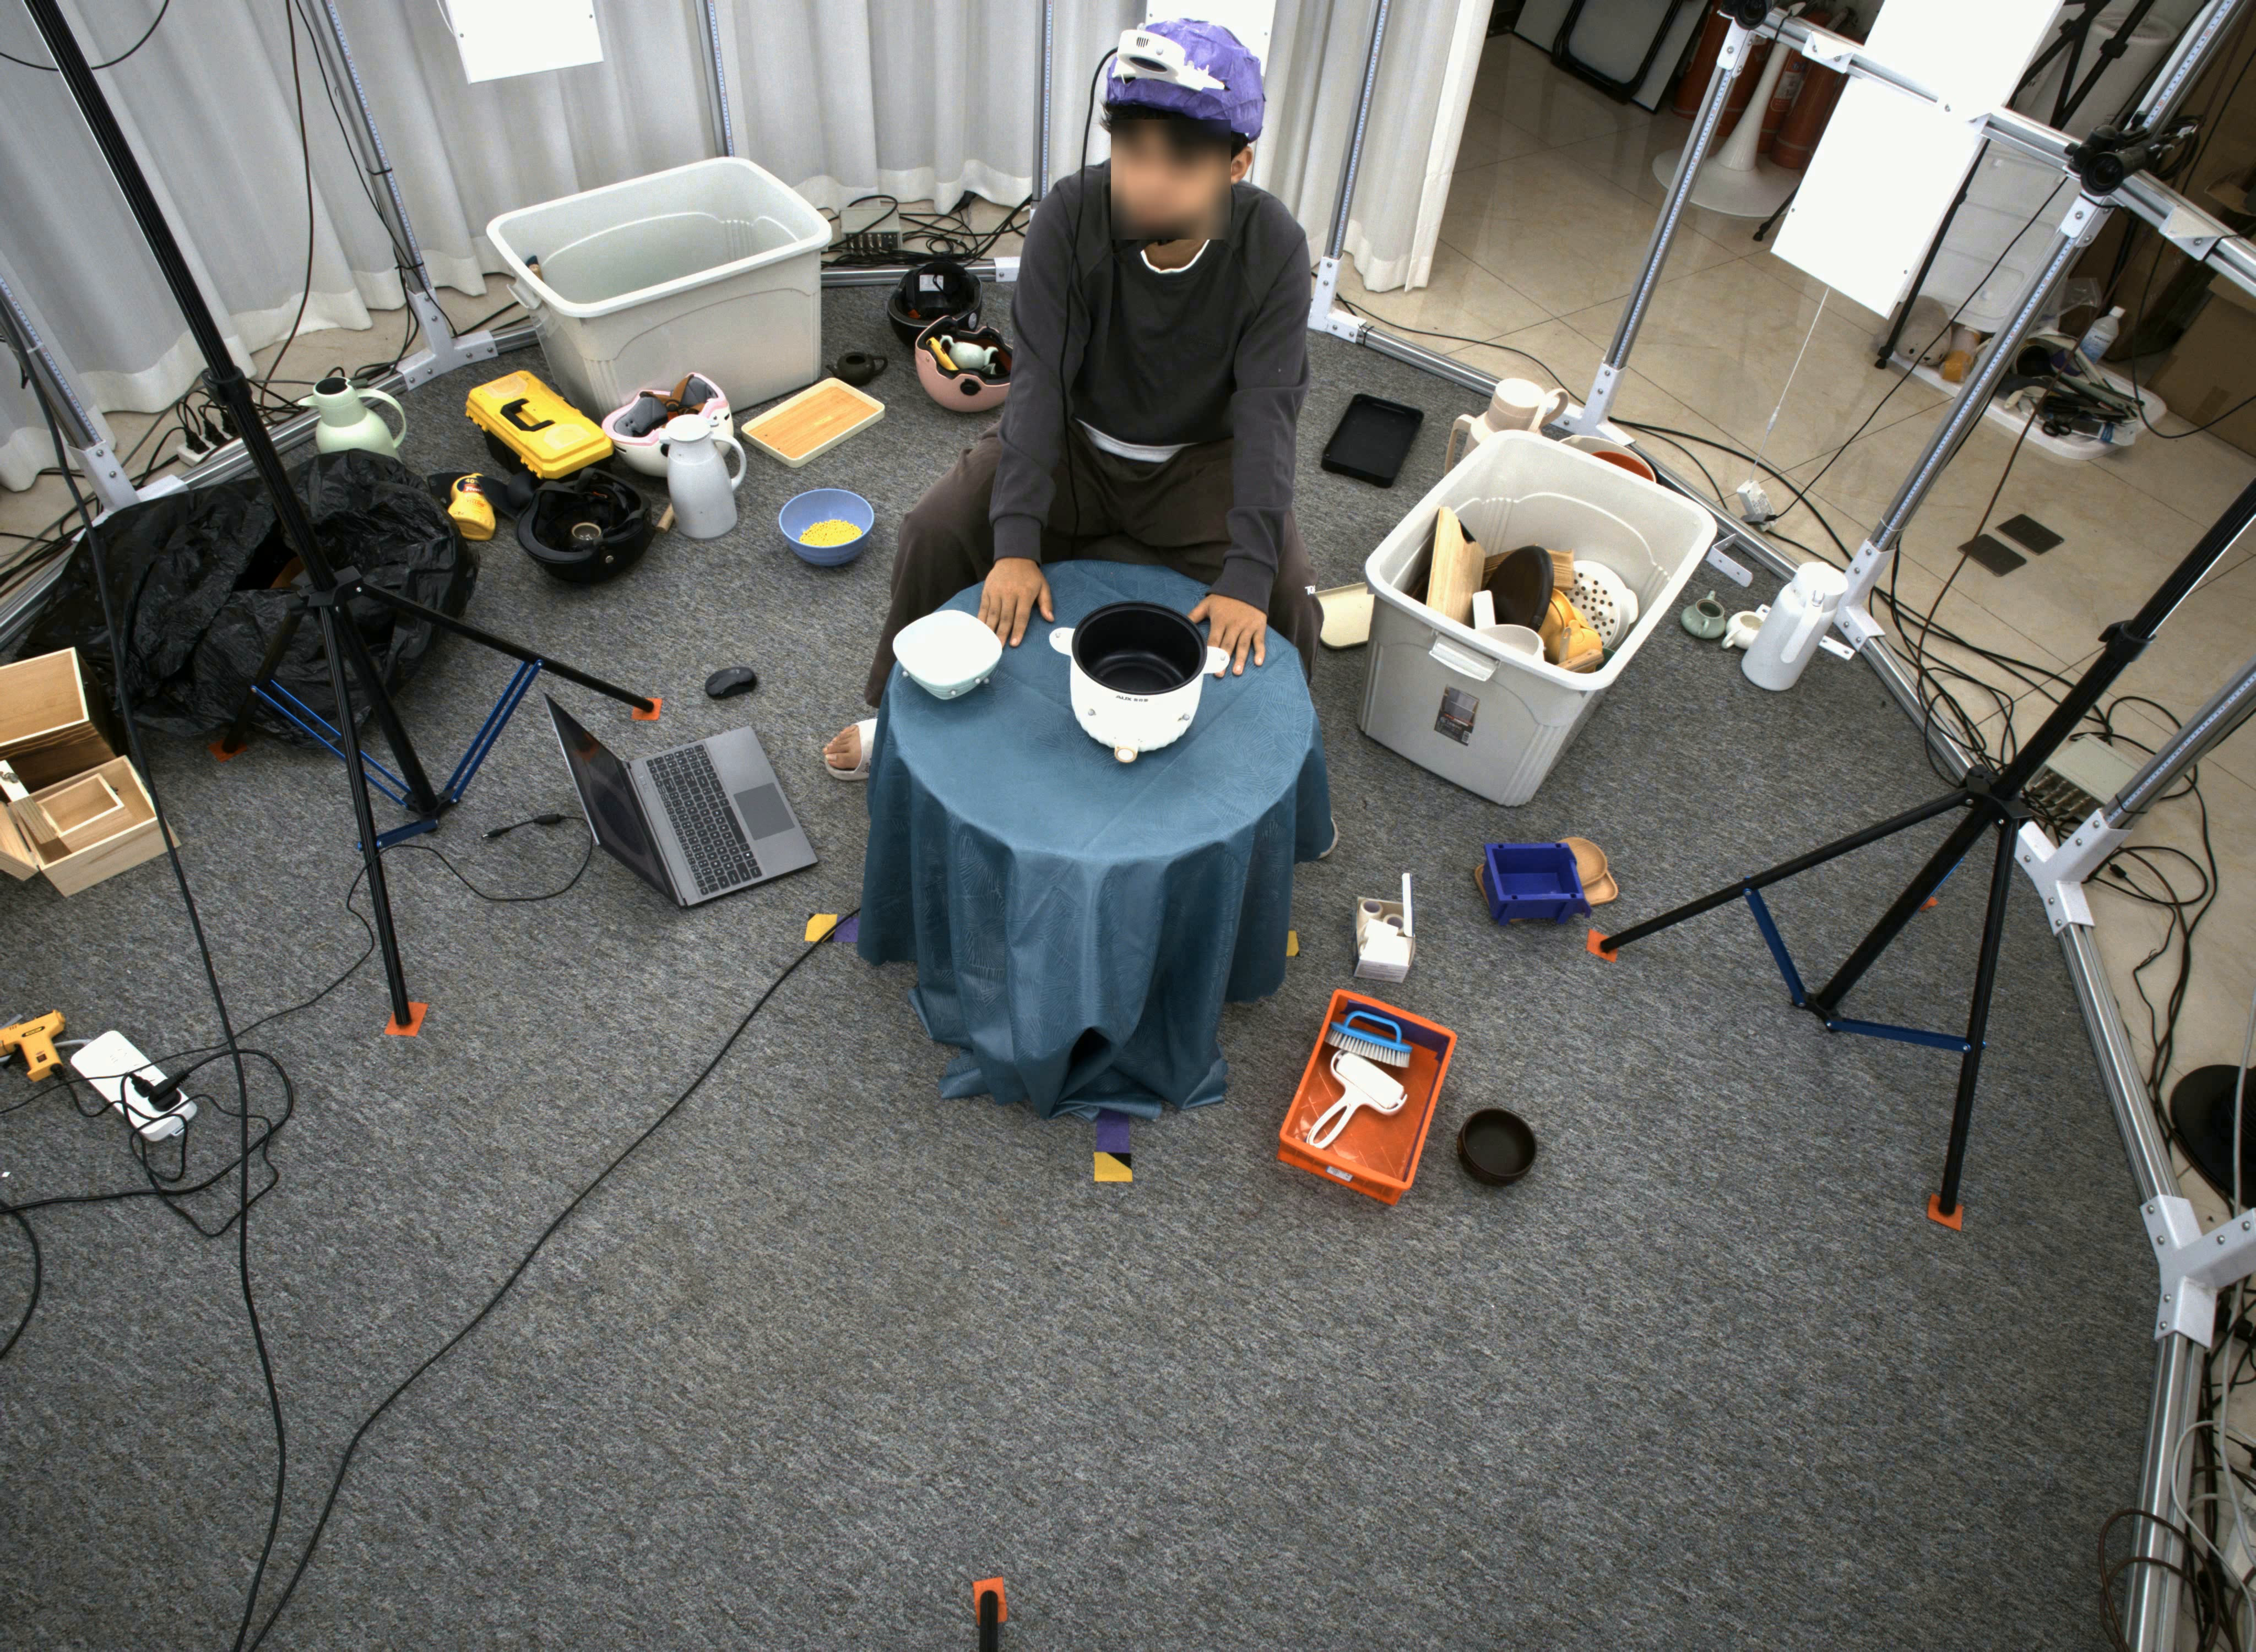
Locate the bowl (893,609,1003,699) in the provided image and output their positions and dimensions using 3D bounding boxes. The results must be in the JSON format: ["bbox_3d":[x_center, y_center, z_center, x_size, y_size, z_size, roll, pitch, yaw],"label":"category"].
[{"bbox_3d":[-0.252,-0.233,1.812,0.151,0.057,0.155,3,50,-4],"label":"bowl"}]

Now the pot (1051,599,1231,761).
[{"bbox_3d":[0.014,-0.195,1.744,0.240,0.139,0.195,5,46,2],"label":"pot"}]
